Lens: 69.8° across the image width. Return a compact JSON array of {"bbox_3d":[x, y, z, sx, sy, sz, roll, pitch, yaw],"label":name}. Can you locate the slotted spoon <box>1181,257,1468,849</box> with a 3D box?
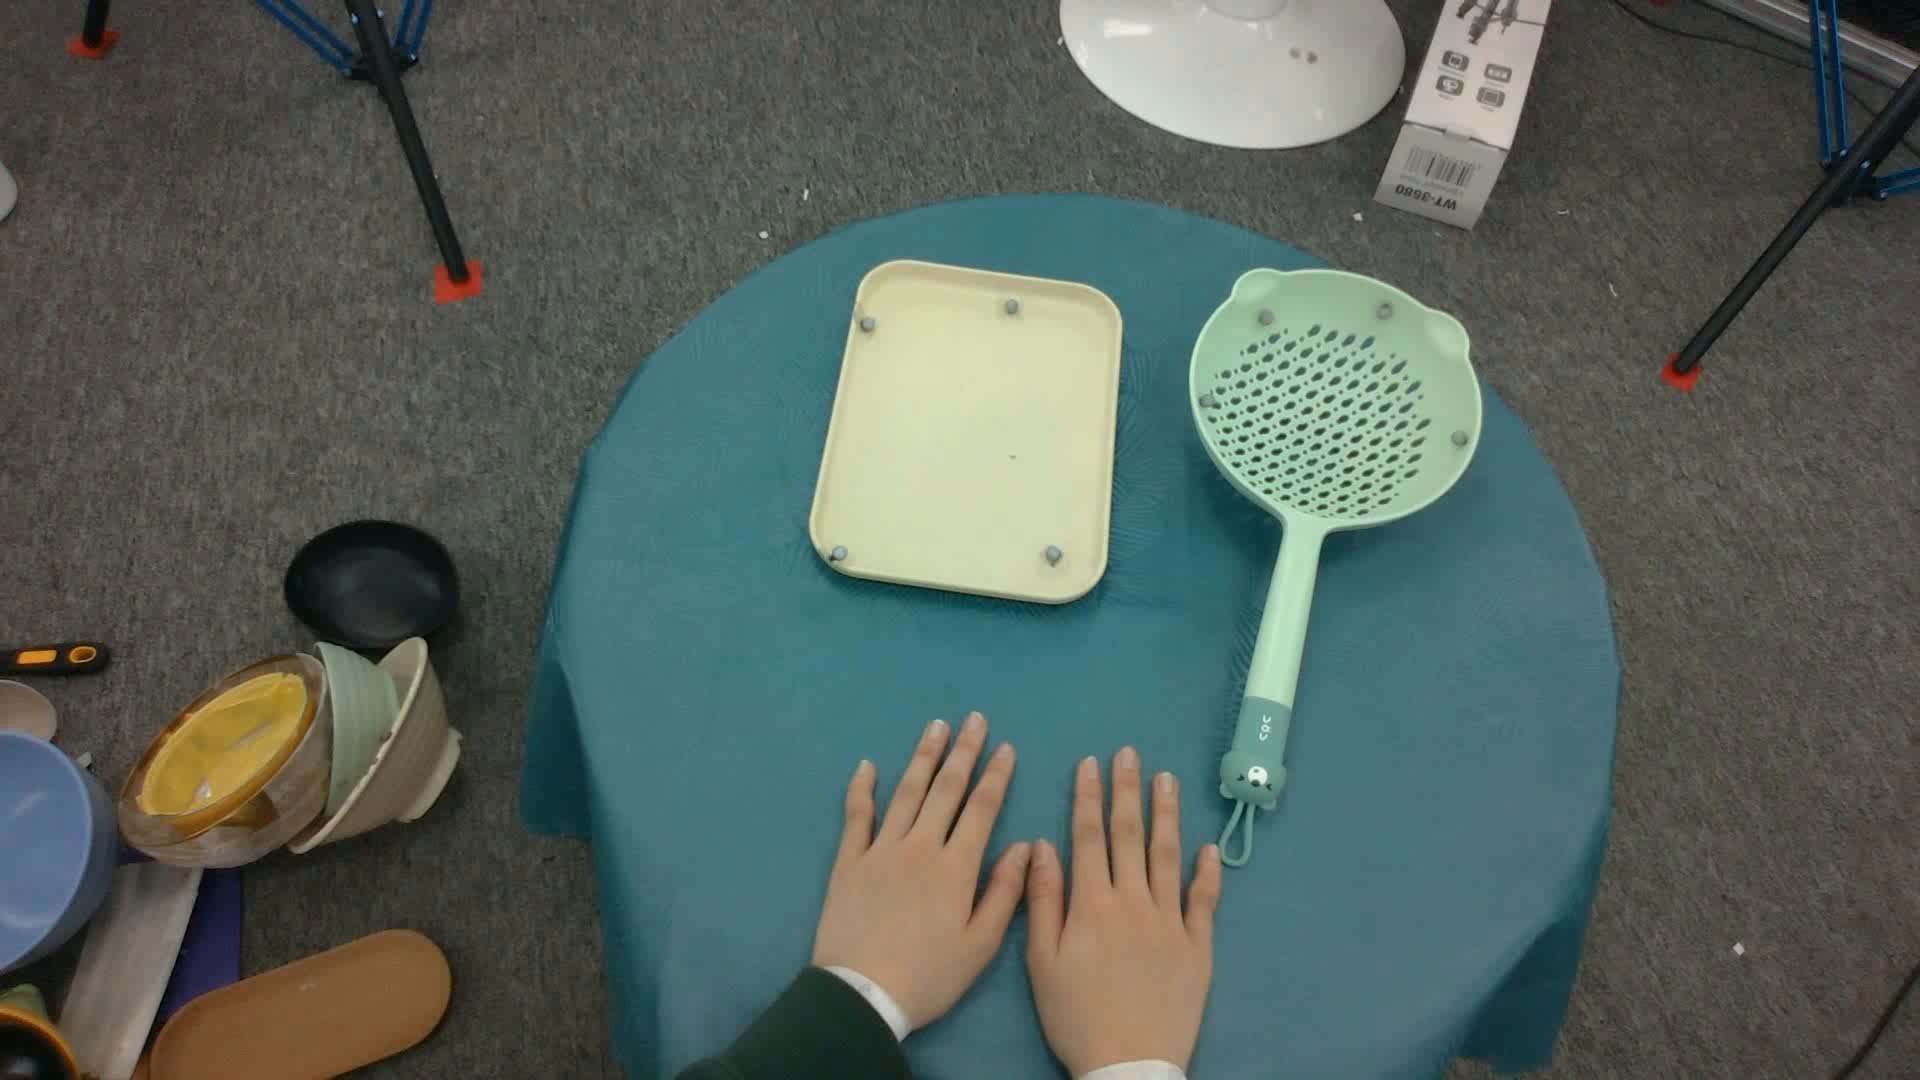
[{"bbox_3d":[0.184,-0.004,0.771,0.169,0.075,0.360,16,57,5],"label":"slotted spoon"}]

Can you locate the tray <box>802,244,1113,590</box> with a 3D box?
[{"bbox_3d":[0.004,-0.079,0.828,0.171,0.017,0.241,8,58,-1],"label":"tray"}]
